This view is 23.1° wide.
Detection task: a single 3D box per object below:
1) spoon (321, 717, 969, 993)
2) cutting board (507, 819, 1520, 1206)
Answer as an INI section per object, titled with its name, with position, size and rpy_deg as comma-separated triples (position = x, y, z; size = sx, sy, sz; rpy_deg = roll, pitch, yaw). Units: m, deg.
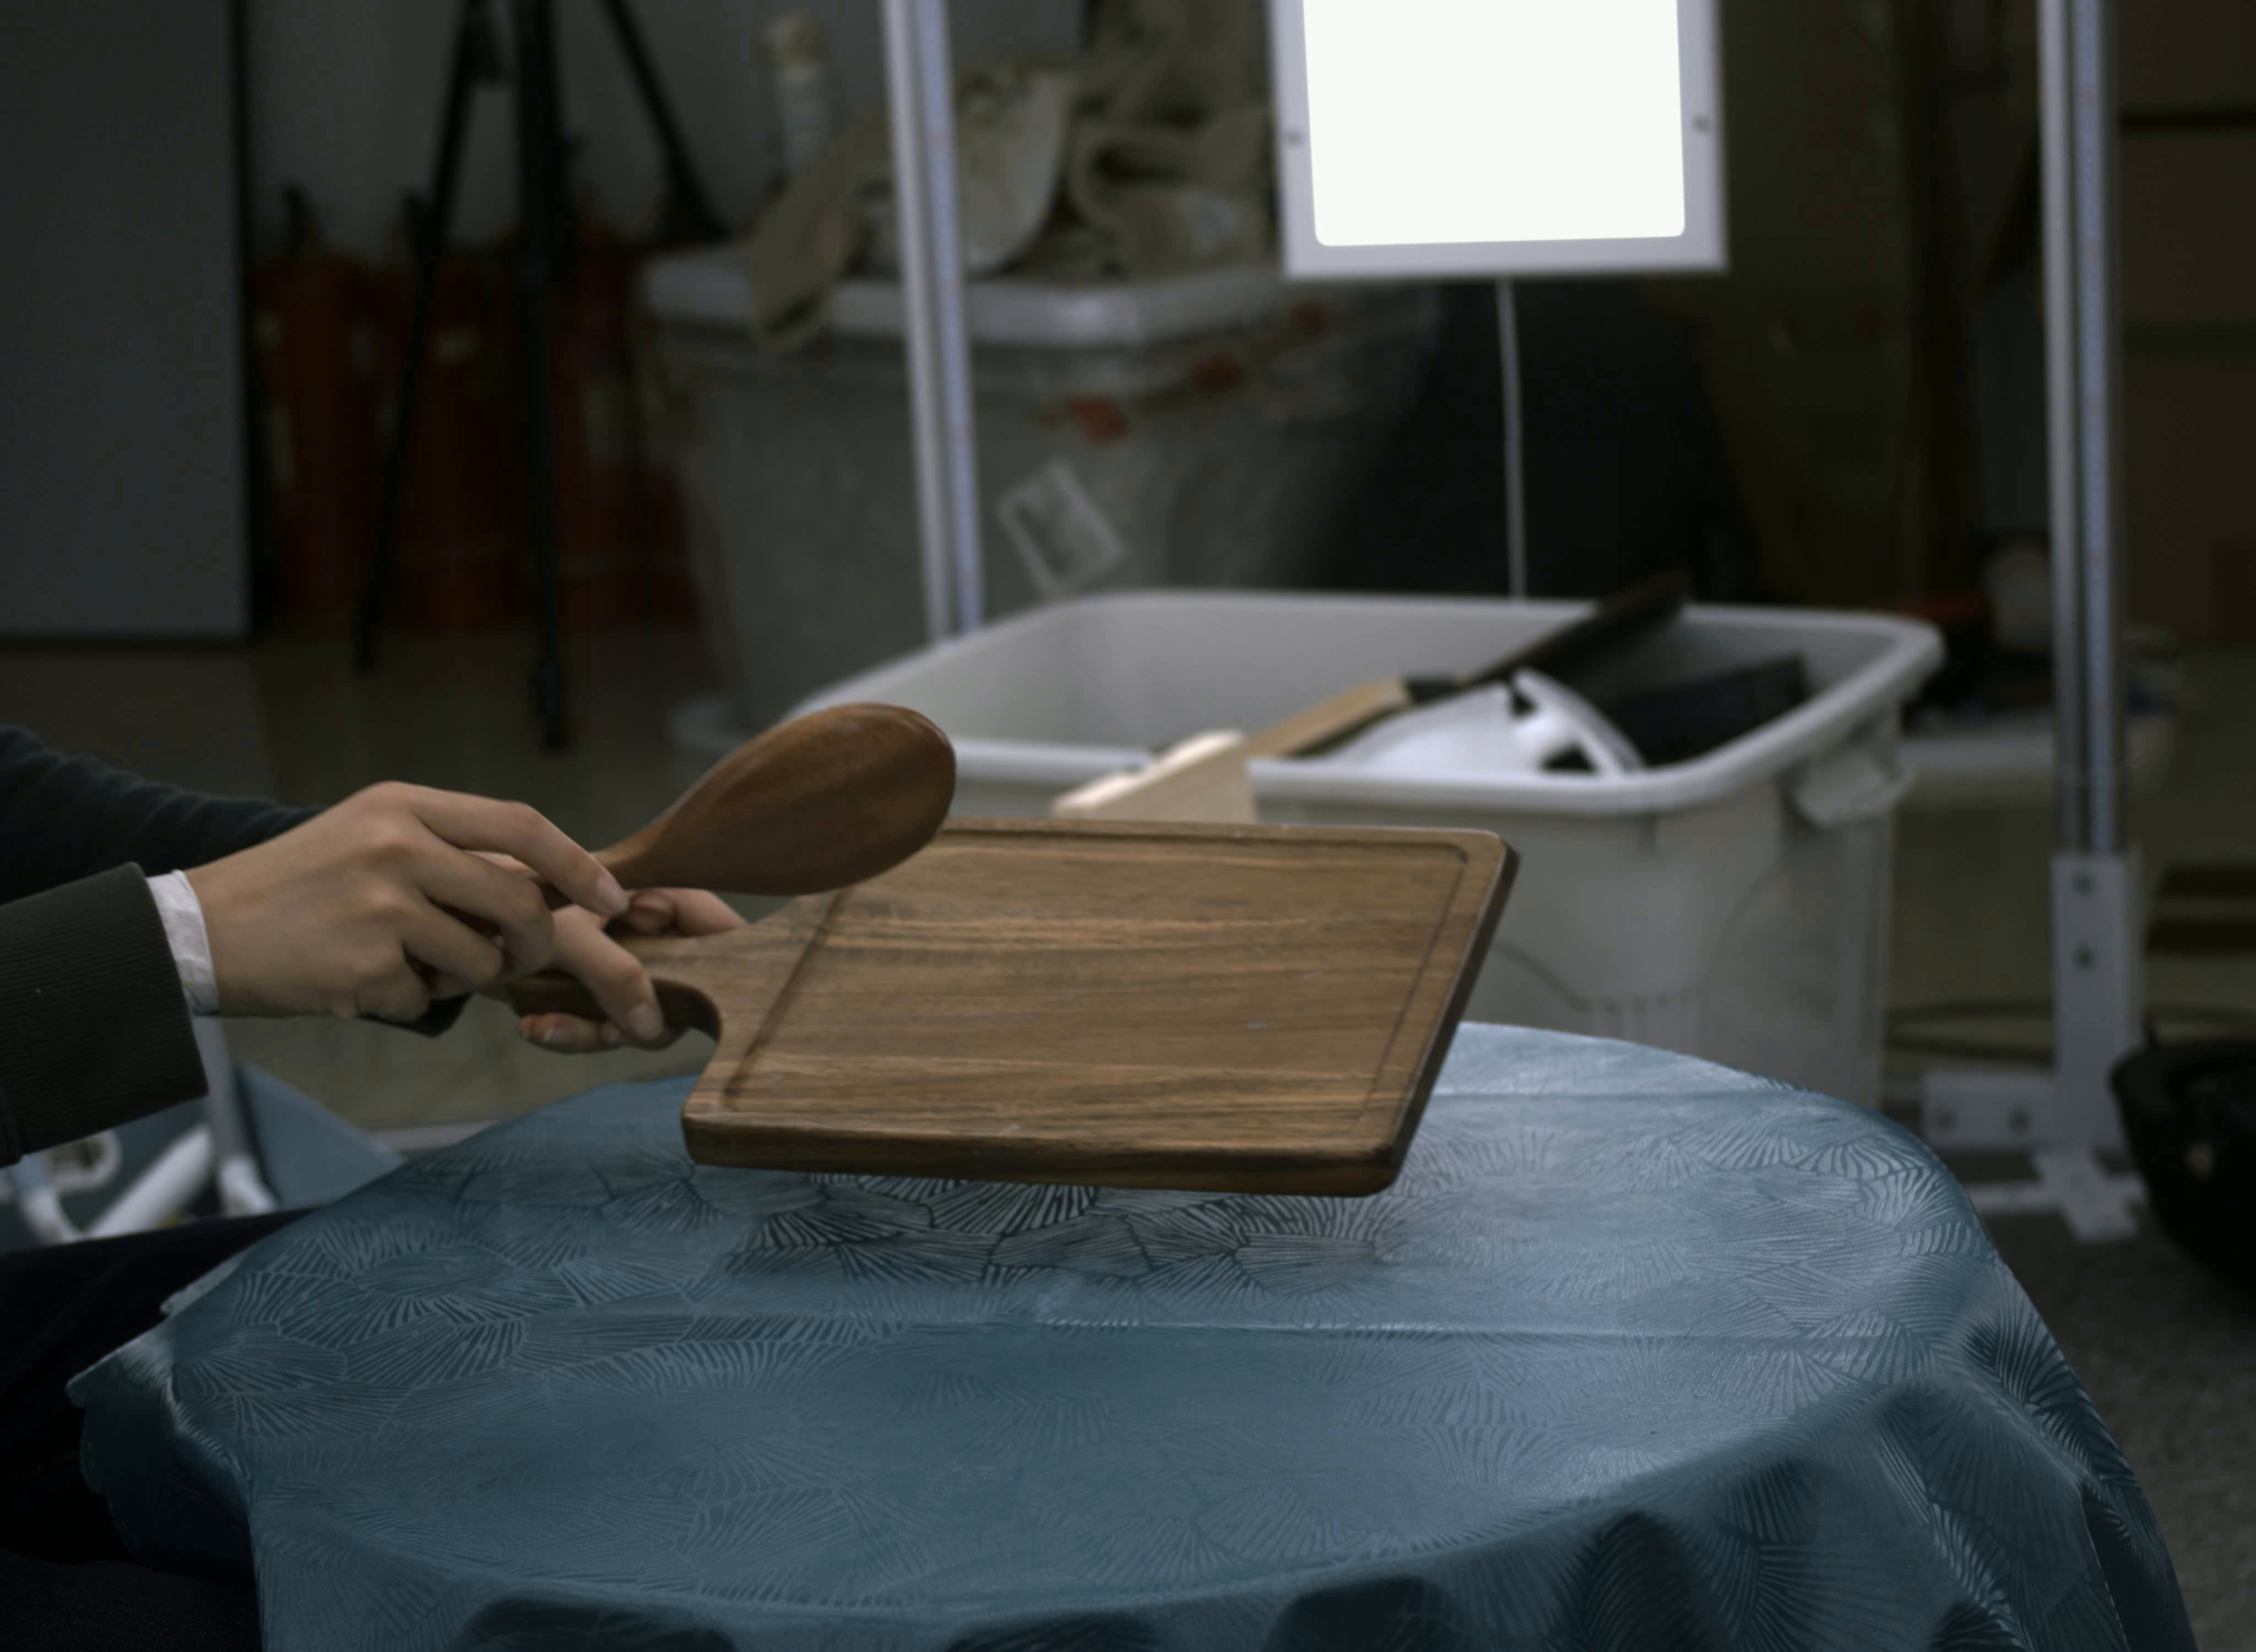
[spoon]
position = -0.153, 0.015, 1.764
size = 0.214, 0.075, 0.017
rpy_deg = -16, 49, -5
[cutting board]
position = -0.051, 0.059, 1.912
size = 0.357, 0.023, 0.198
rpy_deg = 1, 34, 20
